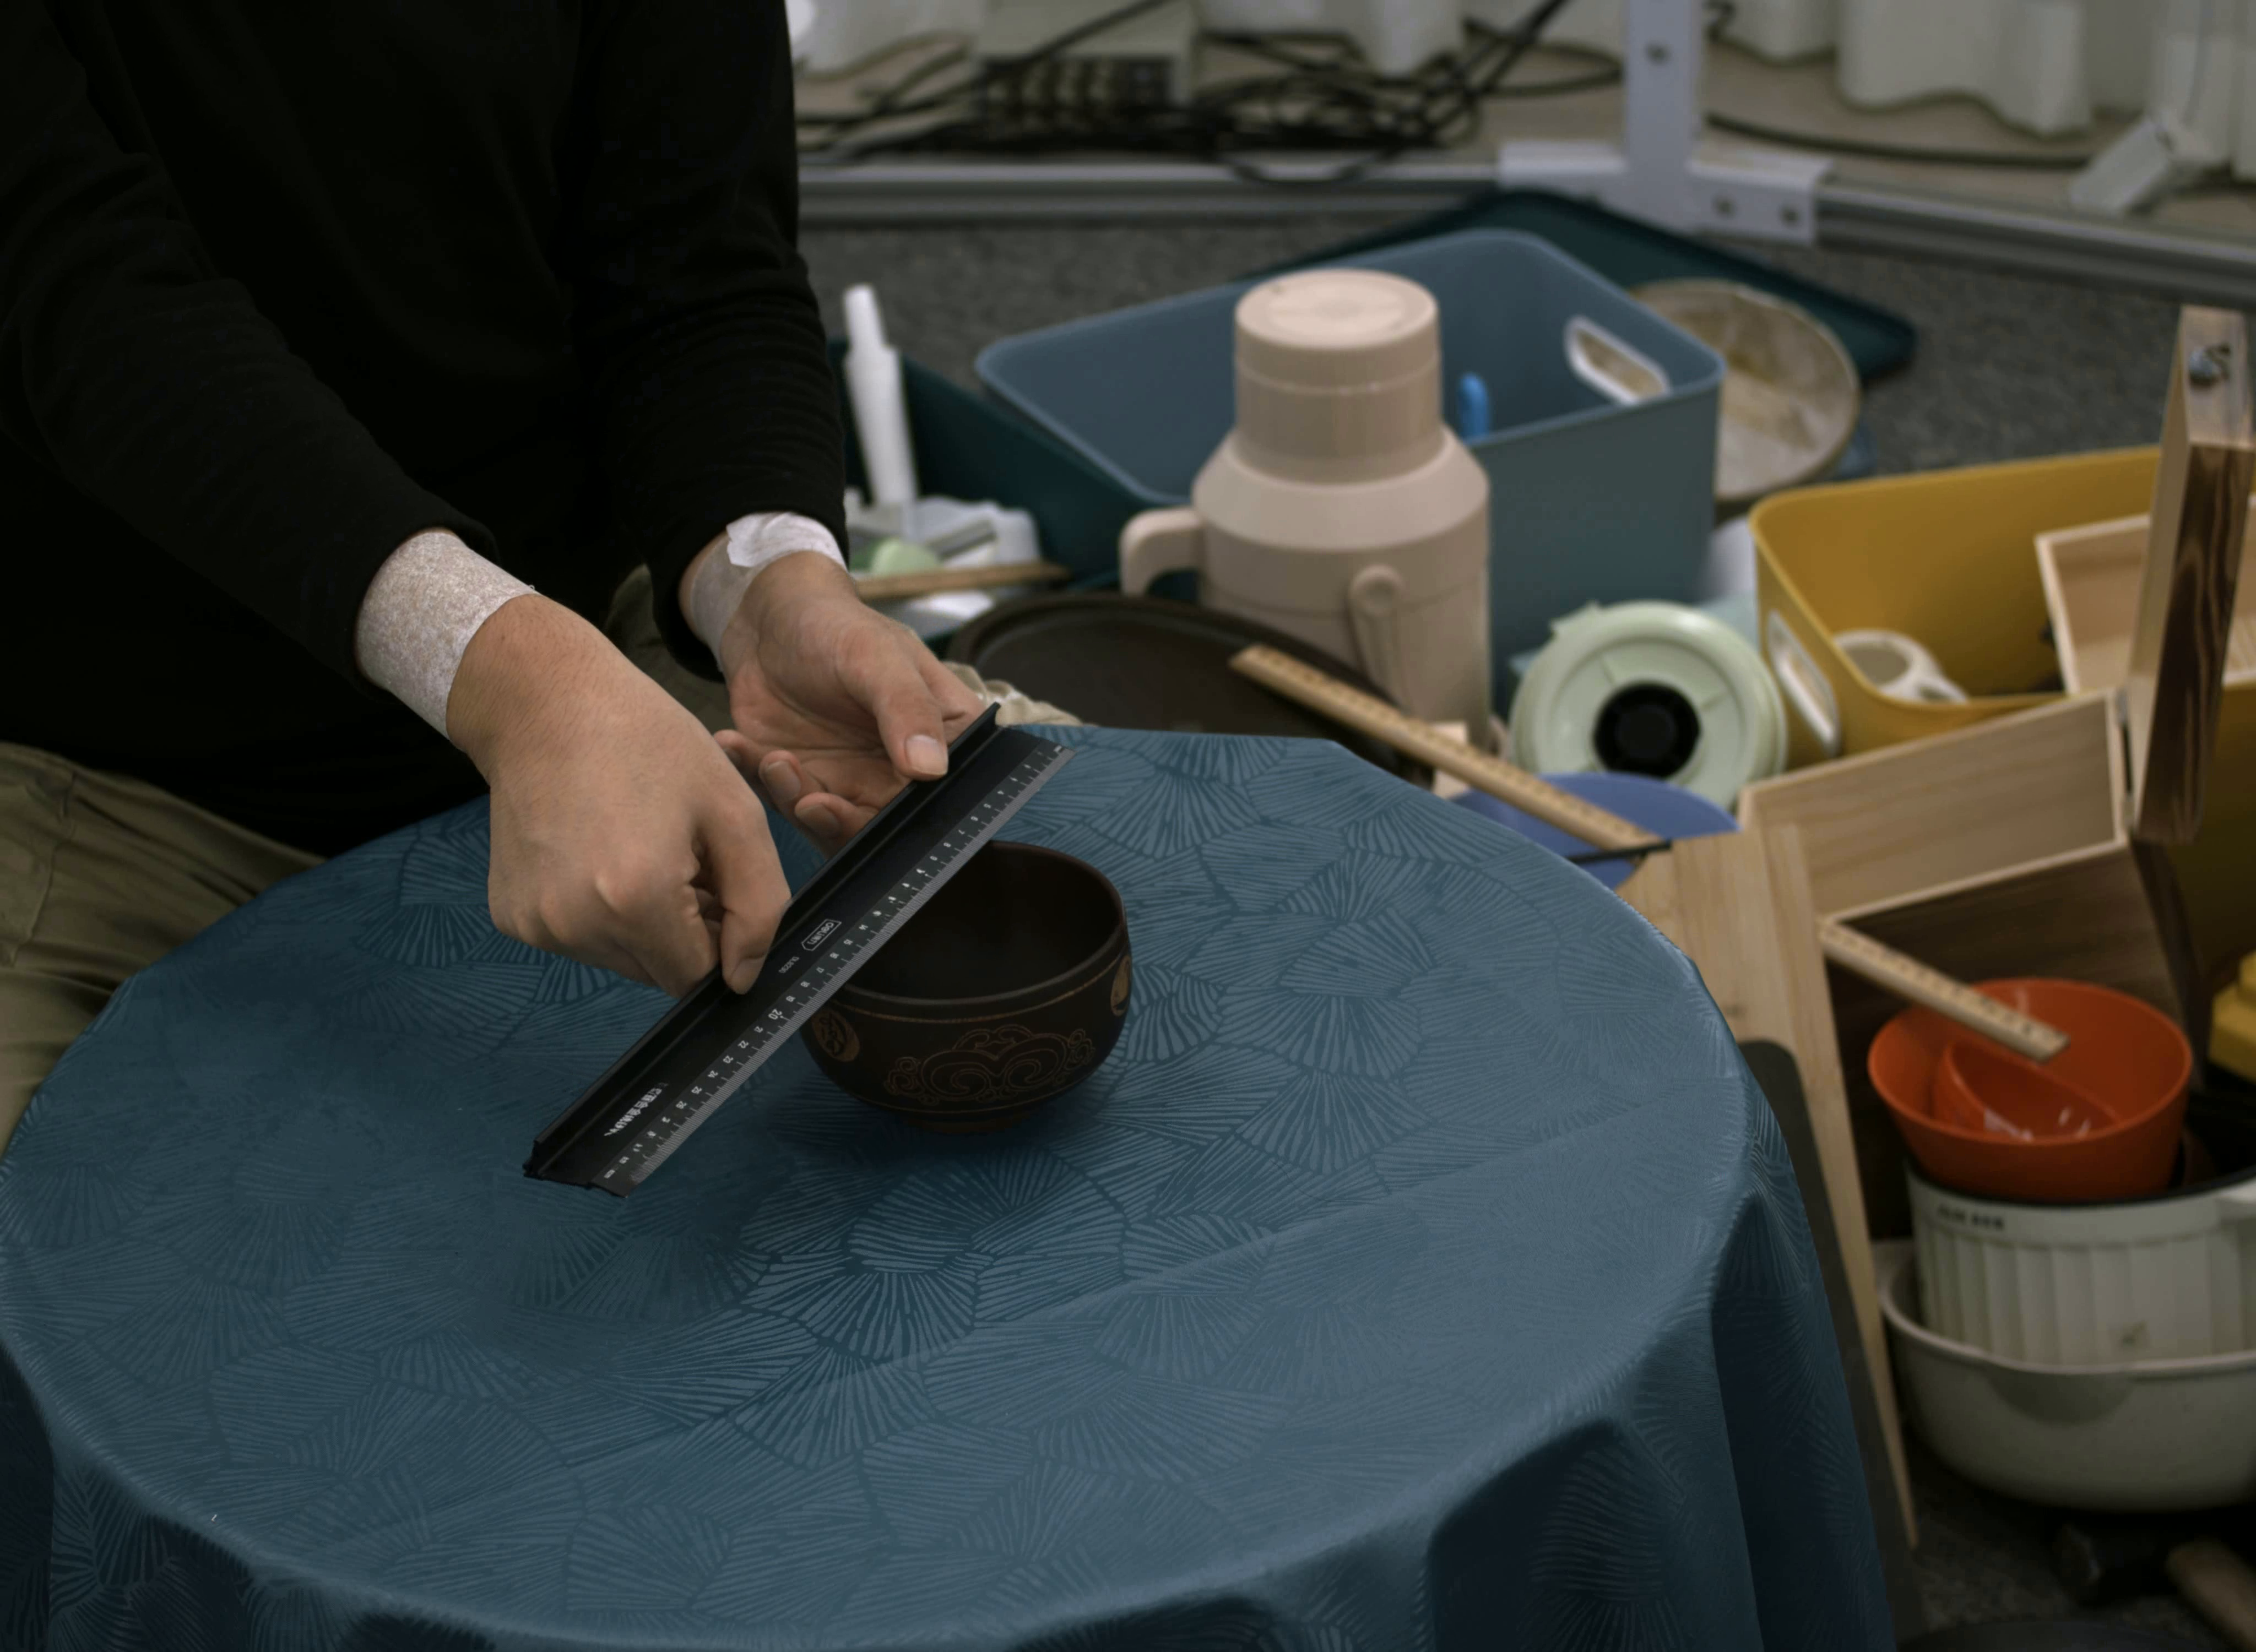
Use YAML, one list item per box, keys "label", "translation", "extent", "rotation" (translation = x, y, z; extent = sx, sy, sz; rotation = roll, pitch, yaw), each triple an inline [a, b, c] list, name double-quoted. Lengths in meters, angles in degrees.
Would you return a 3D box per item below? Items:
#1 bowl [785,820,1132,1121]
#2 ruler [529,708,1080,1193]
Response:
- label: "bowl"
  translation: [-0.058, 0.056, 1.908]
  extent: [0.117, 0.069, 0.120]
  rotation: [1, 30, 0]
- label: "ruler"
  translation: [-0.103, 0.036, 1.873]
  extent: [0.039, 0.017, 0.318]
  rotation: [13, 32, 23]
